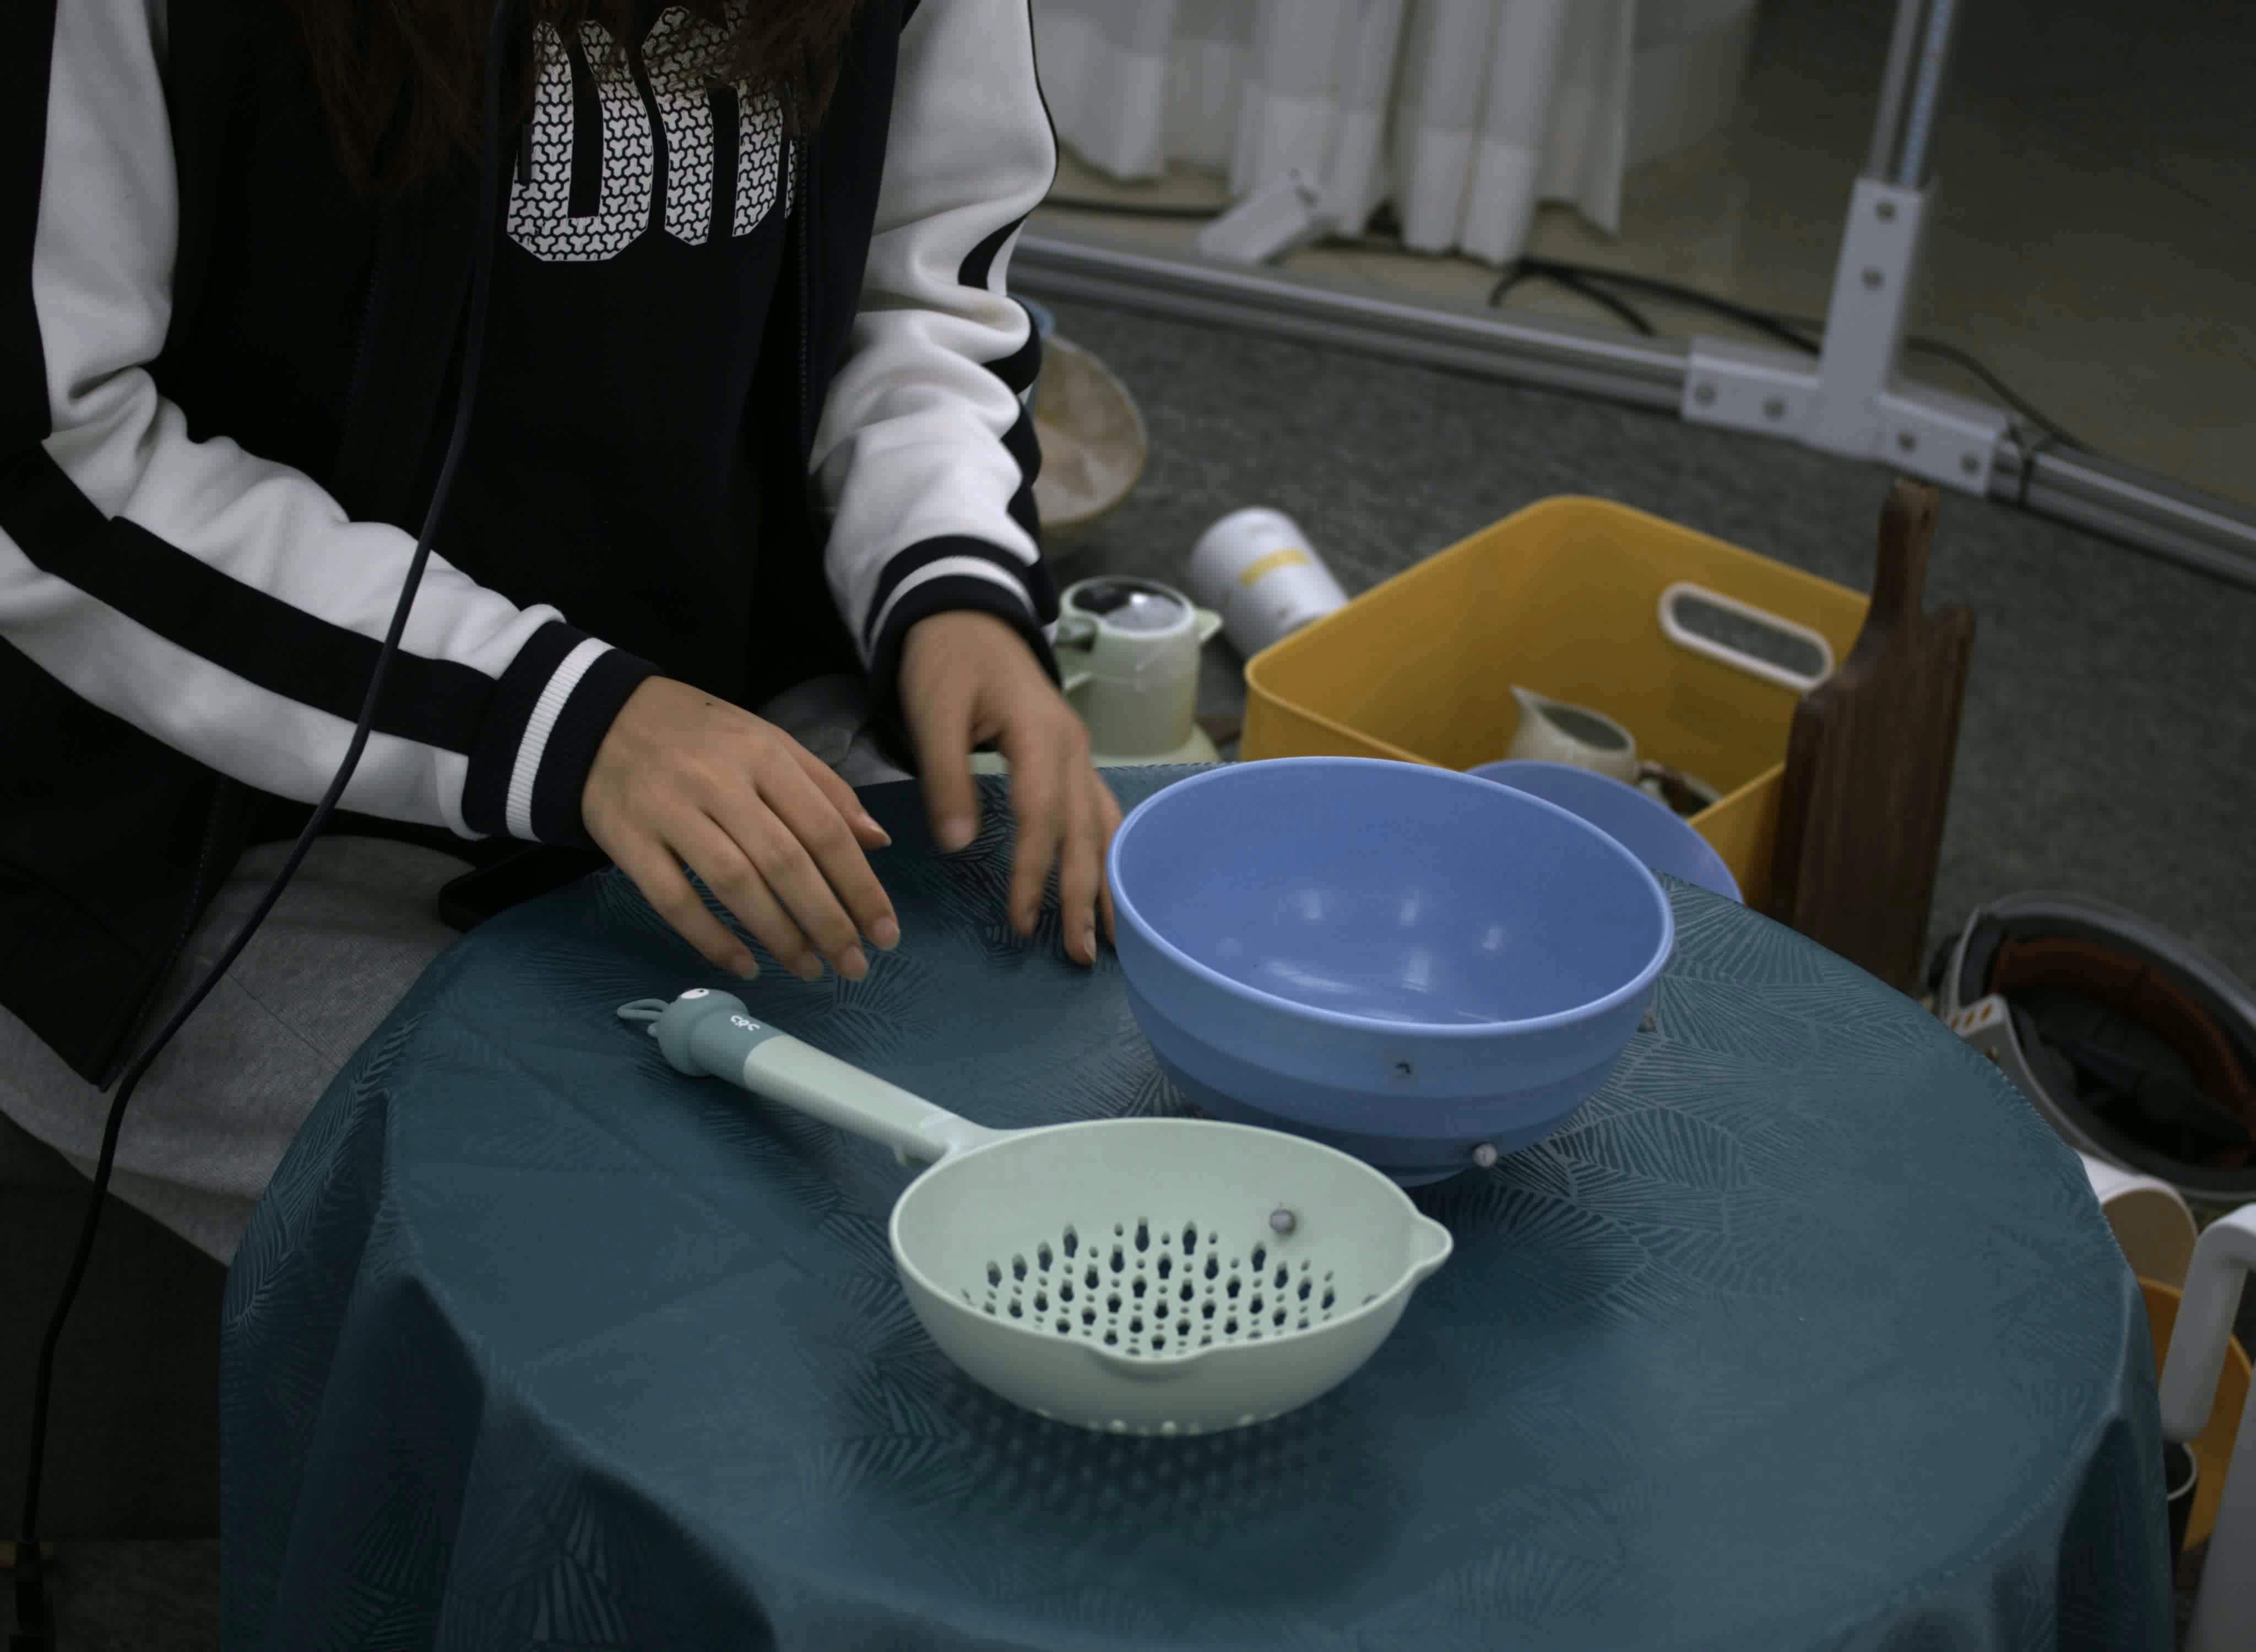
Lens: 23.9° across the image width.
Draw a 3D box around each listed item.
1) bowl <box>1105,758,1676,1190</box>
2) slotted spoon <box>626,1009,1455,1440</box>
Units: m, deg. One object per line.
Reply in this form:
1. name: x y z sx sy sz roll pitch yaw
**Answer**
1. bowl: 0.085 0.062 1.838 0.196 0.095 0.197 5 27 -3
2. slotted spoon: -0.055 0.114 1.746 0.168 0.075 0.362 -15 33 -38
